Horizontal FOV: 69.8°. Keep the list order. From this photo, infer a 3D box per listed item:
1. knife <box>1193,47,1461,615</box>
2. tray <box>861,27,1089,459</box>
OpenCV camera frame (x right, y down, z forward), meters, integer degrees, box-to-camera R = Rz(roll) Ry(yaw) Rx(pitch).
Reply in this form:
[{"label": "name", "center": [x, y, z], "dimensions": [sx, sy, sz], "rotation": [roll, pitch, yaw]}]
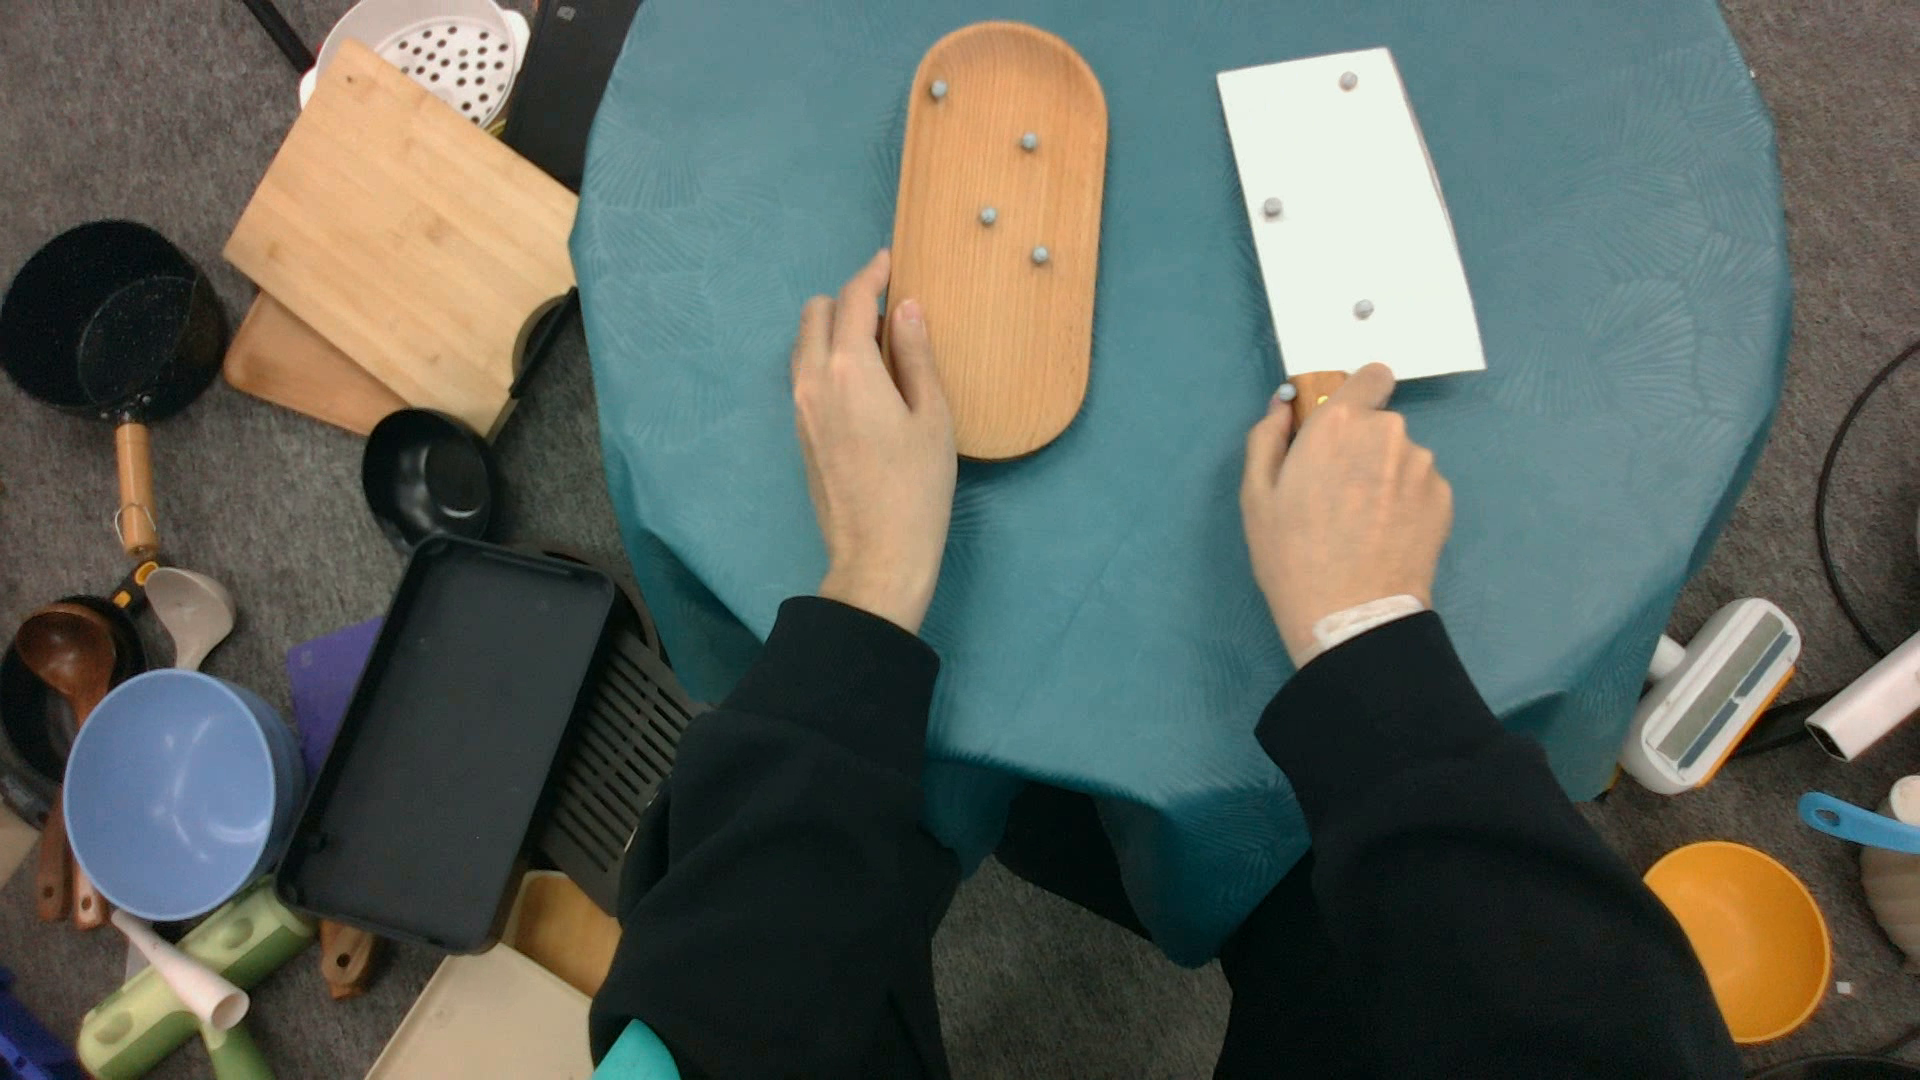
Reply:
[{"label": "knife", "center": [0.183, -0.113, 0.651], "dimensions": [0.093, 0.021, 0.306], "rotation": [-8, 67, 0]}, {"label": "tray", "center": [0.009, -0.149, 0.673], "dimensions": [0.102, 0.020, 0.232], "rotation": [7, 74, -6]}]
